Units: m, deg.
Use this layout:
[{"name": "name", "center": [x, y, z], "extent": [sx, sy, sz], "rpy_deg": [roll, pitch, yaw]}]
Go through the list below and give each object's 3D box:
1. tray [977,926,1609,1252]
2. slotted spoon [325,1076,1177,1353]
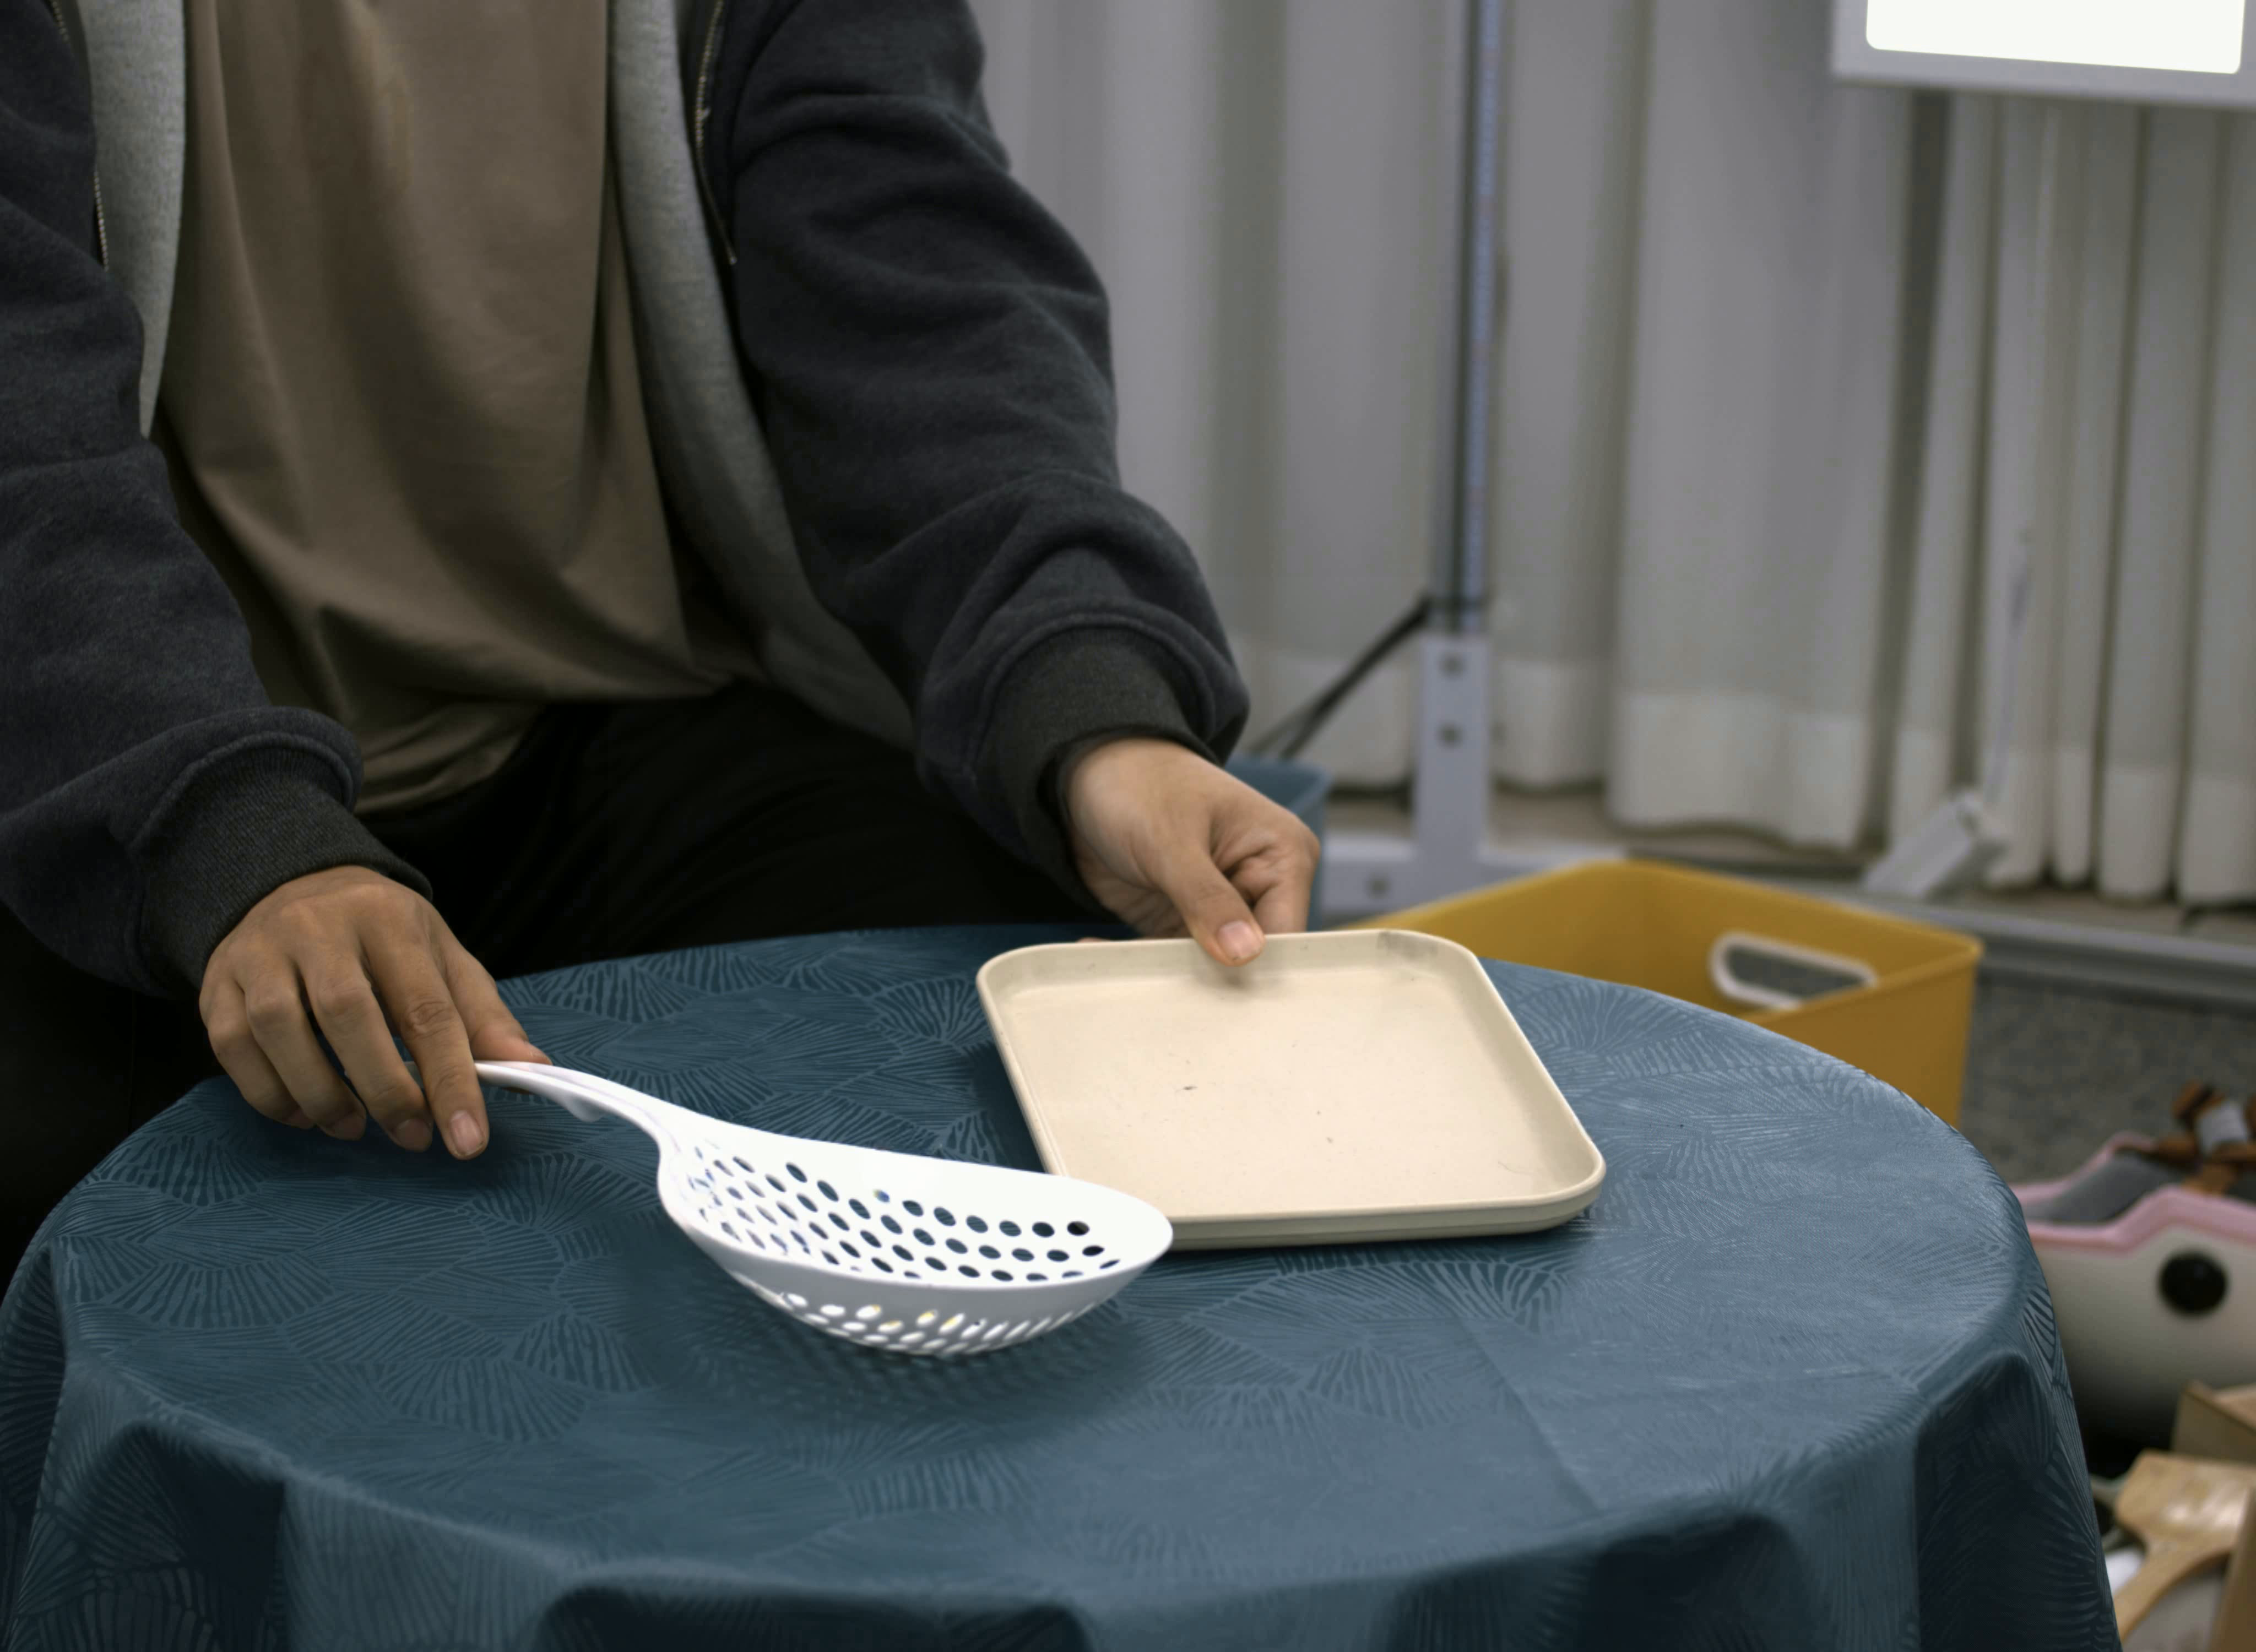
[{"name": "tray", "center": [0.048, 0.082, 1.676], "extent": [0.171, 0.017, 0.237], "rpy_deg": [-3, 19, -9]}, {"name": "slotted spoon", "center": [-0.130, 0.102, 1.567], "extent": [0.137, 0.050, 0.343], "rpy_deg": [-10, 20, -42]}]
